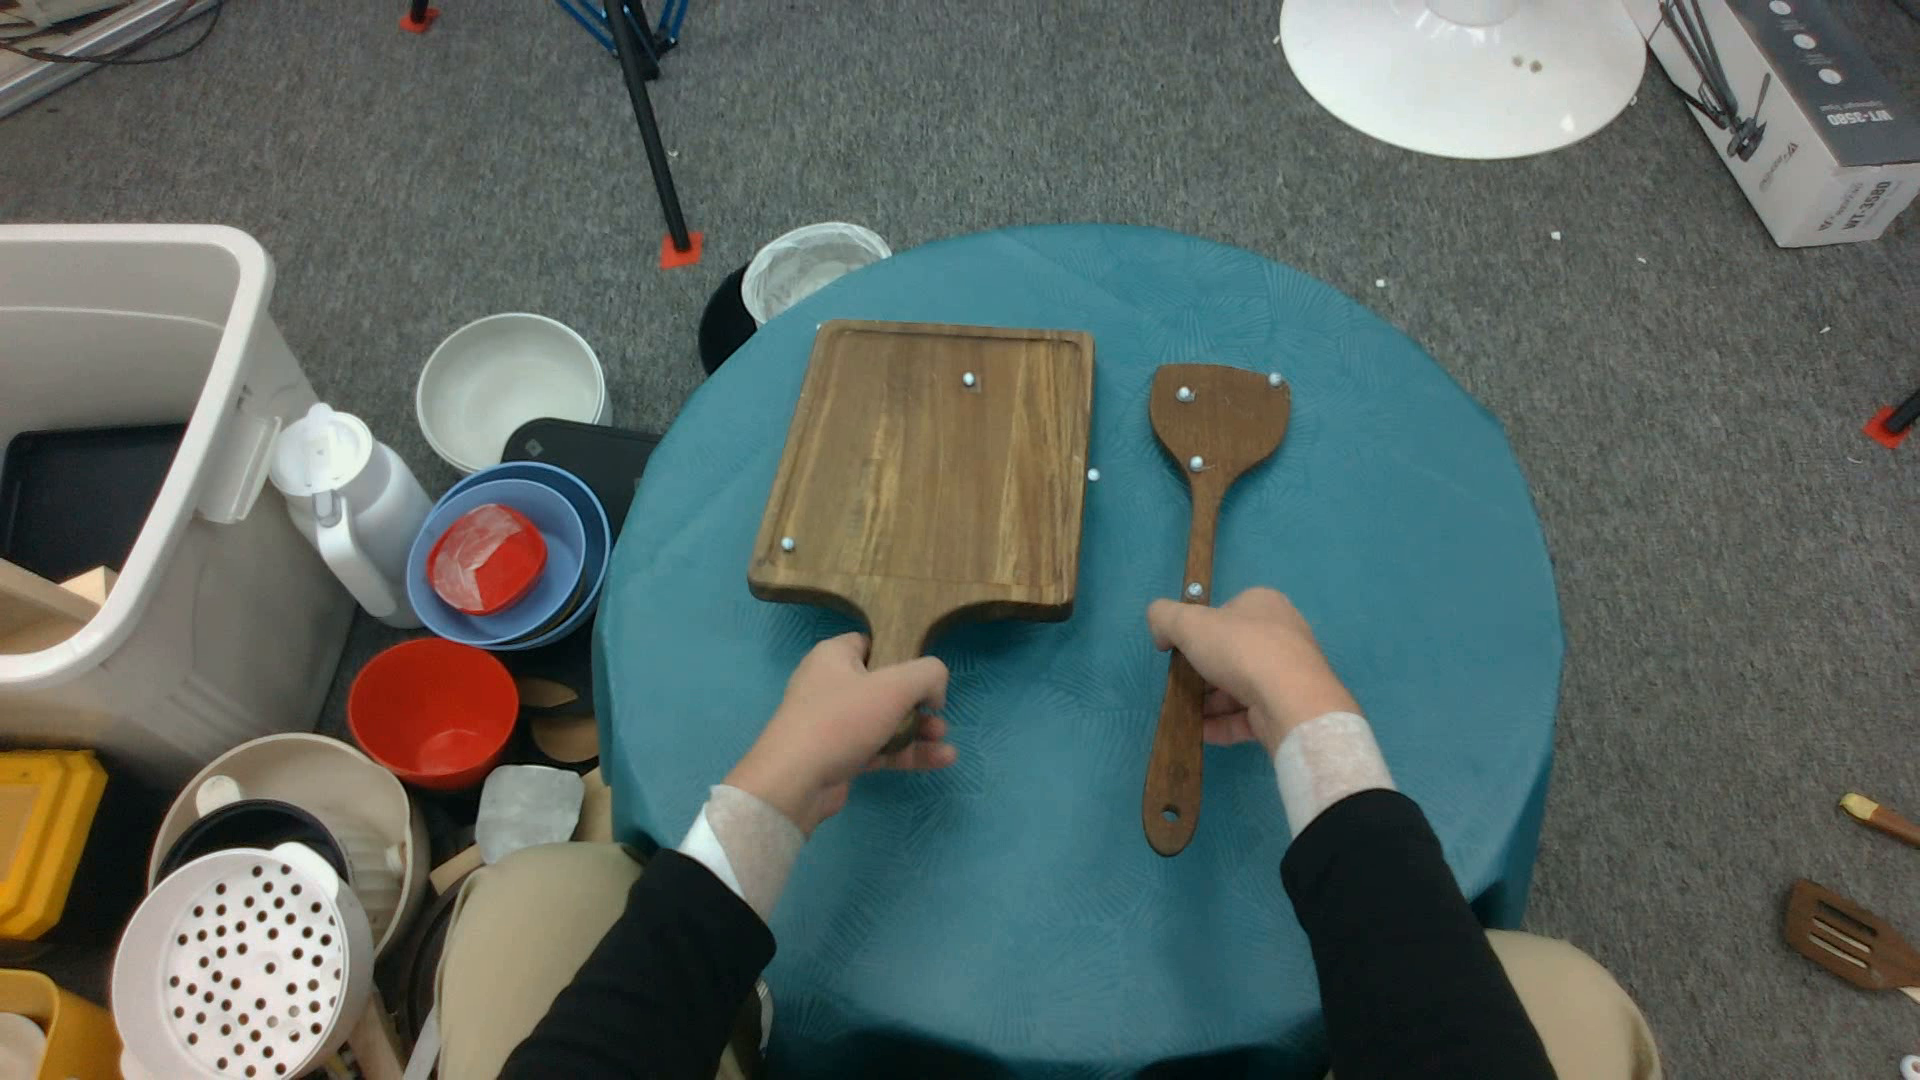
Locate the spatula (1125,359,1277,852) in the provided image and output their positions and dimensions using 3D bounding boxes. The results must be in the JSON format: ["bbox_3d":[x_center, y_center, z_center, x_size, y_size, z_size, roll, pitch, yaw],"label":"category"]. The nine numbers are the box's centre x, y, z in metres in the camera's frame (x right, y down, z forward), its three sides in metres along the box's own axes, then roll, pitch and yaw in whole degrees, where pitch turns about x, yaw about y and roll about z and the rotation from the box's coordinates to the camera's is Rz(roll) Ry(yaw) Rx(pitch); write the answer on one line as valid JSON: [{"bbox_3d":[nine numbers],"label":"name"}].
[{"bbox_3d":[0.134,0.016,0.826,0.096,0.016,0.388,10,47,6],"label":"spatula"}]

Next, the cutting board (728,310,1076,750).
[{"bbox_3d":[-0.033,-0.024,0.851,0.201,0.023,0.354,4,48,4],"label":"cutting board"}]
